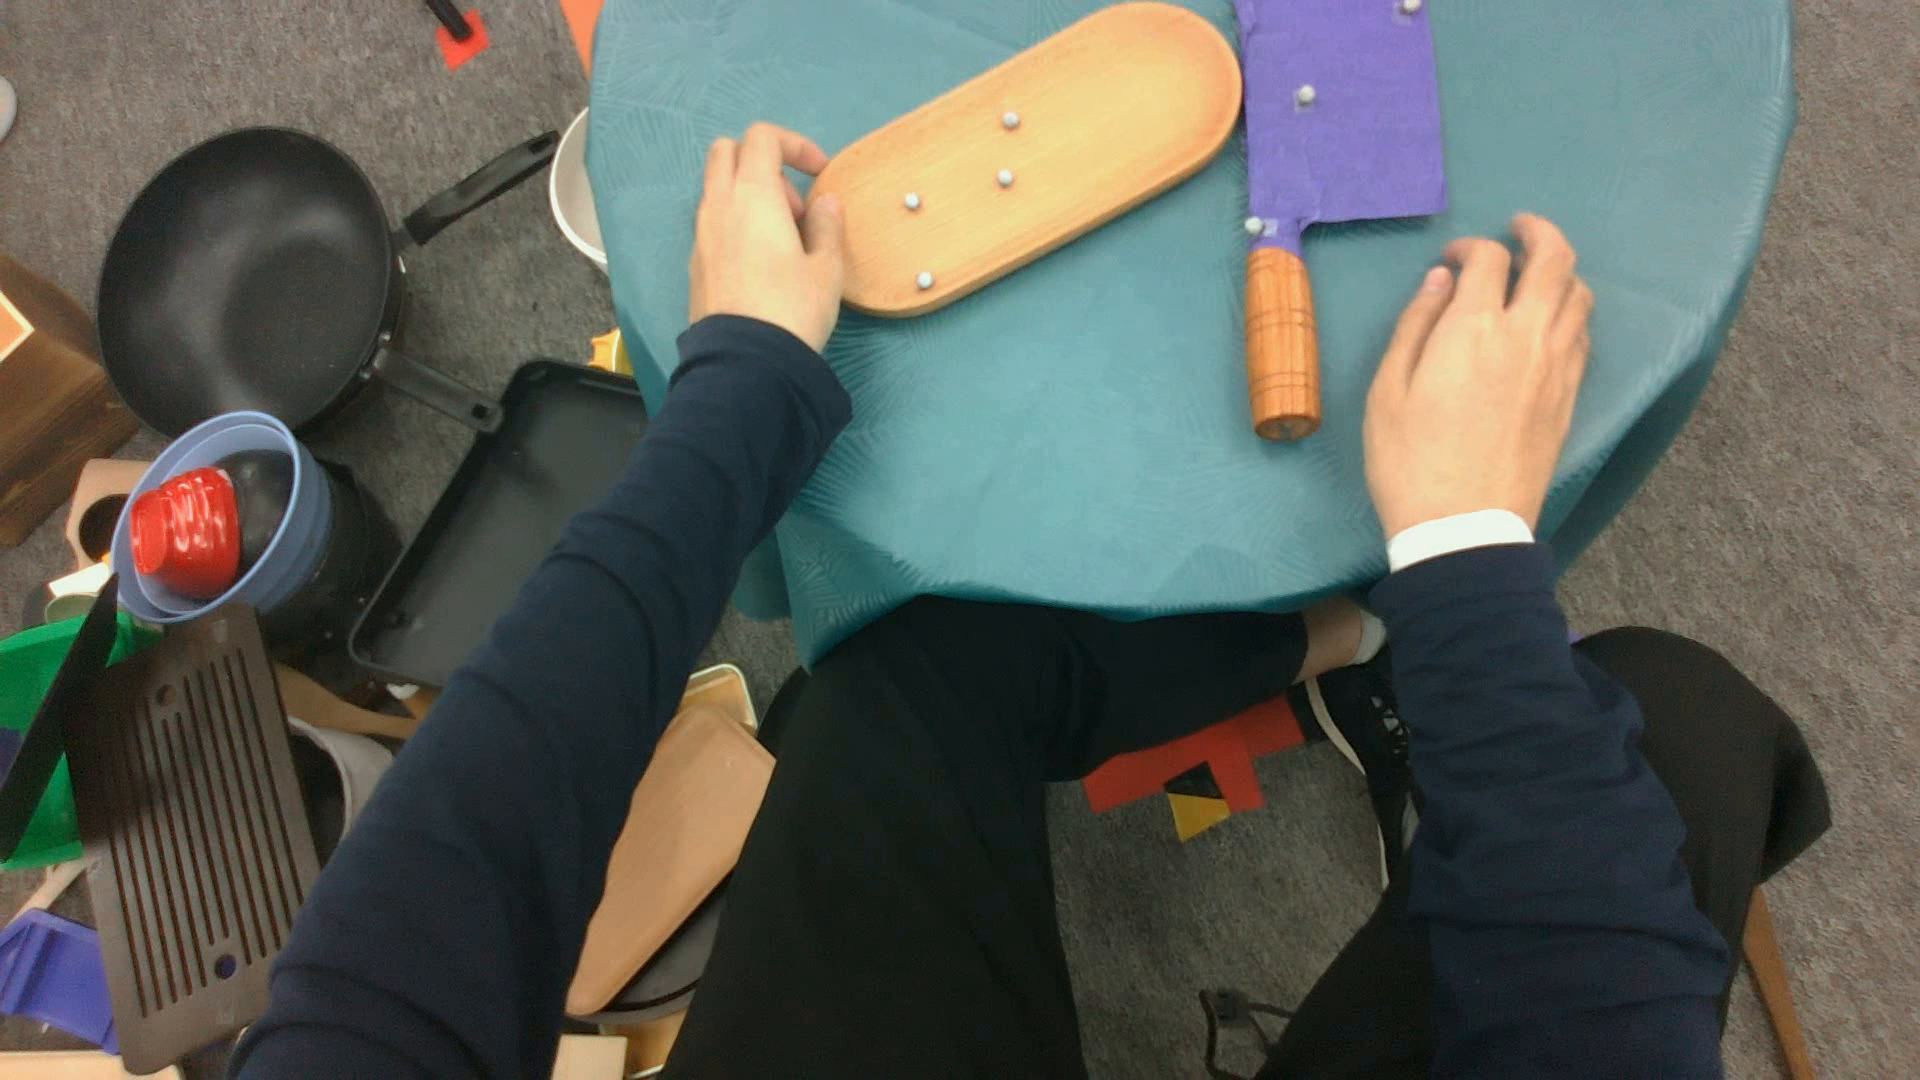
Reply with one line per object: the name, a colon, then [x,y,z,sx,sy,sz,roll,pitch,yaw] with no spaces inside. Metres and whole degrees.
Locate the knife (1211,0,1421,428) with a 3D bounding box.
knife: [0.170,-0.206,0.661,0.104,0.032,0.316,-3,72,7]

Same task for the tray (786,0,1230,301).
tray: [0.024,-0.193,0.683,0.231,0.020,0.102,-25,71,-2]
